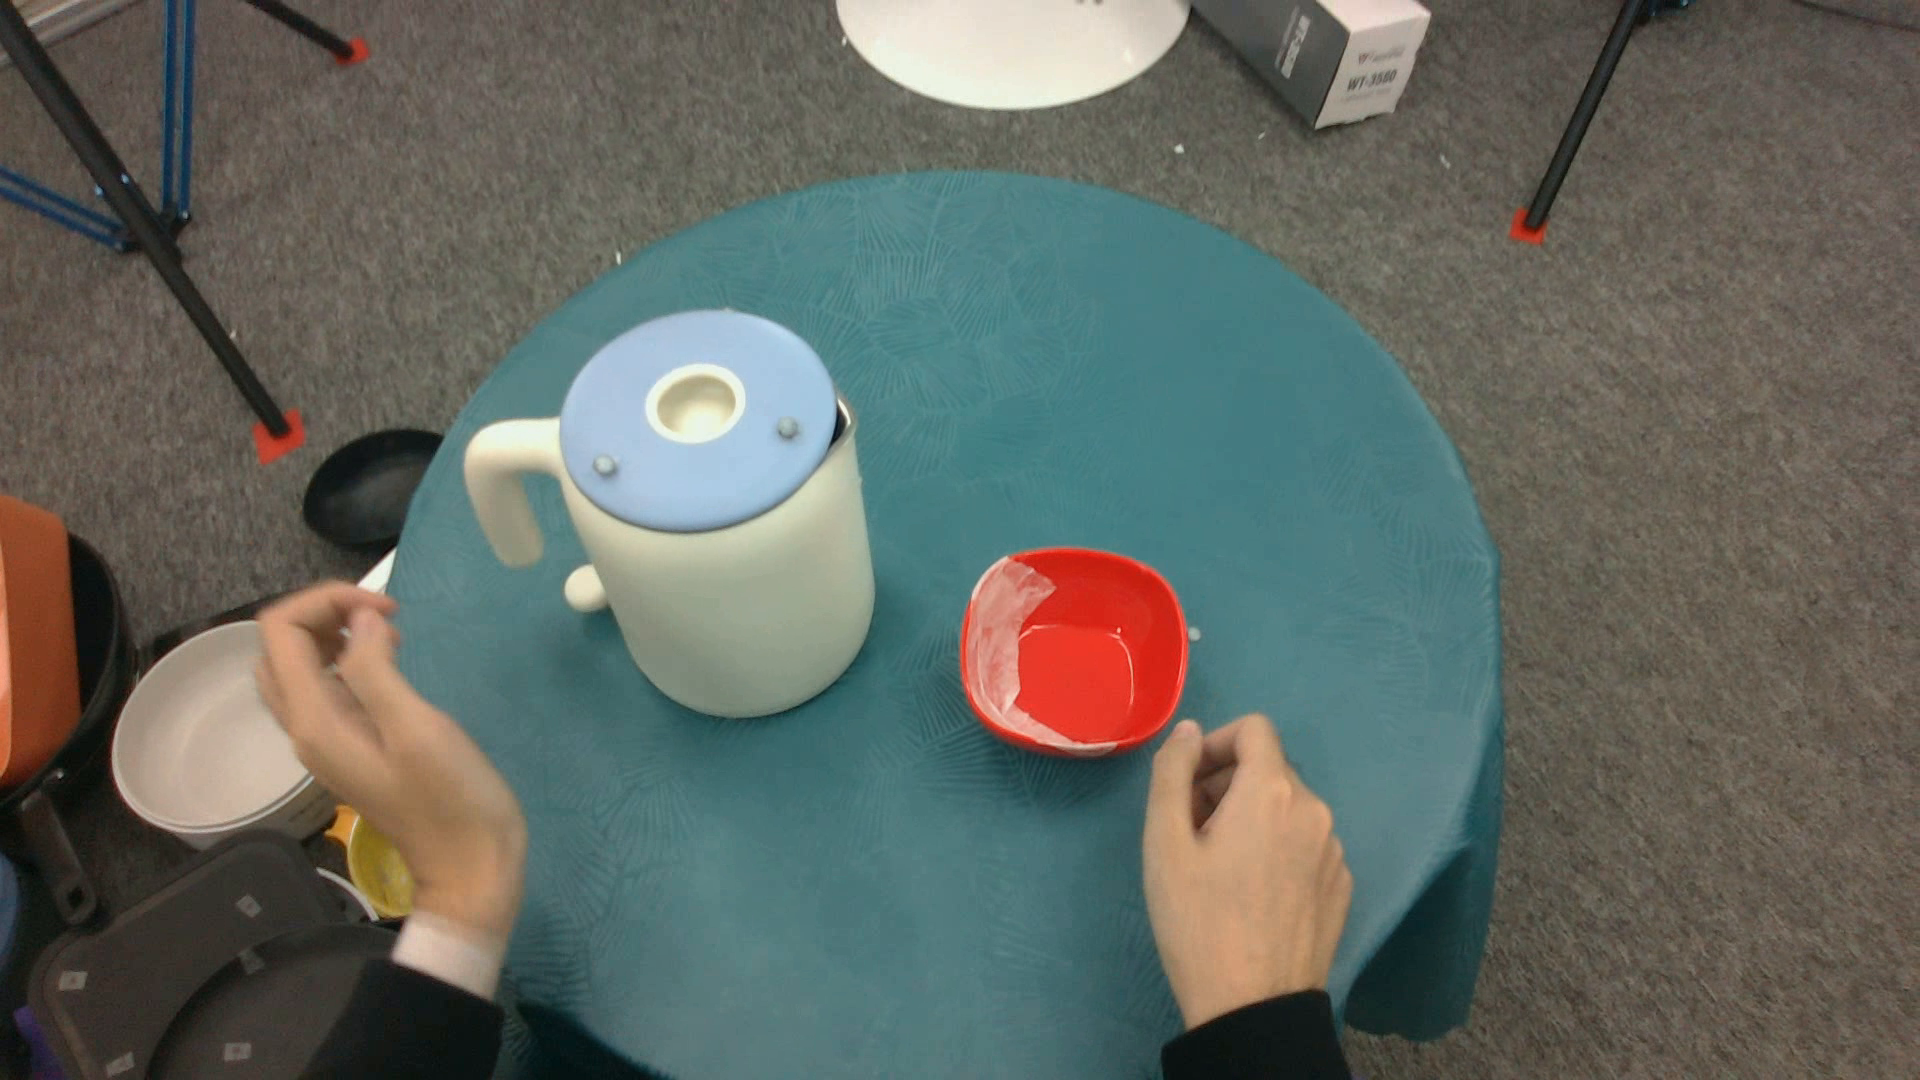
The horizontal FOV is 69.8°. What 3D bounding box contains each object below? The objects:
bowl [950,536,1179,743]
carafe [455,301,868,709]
[{"bbox_3d":[0.050,0.057,0.682,0.119,0.051,0.119,1,54,-1],"label":"bowl"},{"bbox_3d":[-0.140,-0.013,0.661,0.191,0.182,0.133,-1,55,2],"label":"carafe"}]
